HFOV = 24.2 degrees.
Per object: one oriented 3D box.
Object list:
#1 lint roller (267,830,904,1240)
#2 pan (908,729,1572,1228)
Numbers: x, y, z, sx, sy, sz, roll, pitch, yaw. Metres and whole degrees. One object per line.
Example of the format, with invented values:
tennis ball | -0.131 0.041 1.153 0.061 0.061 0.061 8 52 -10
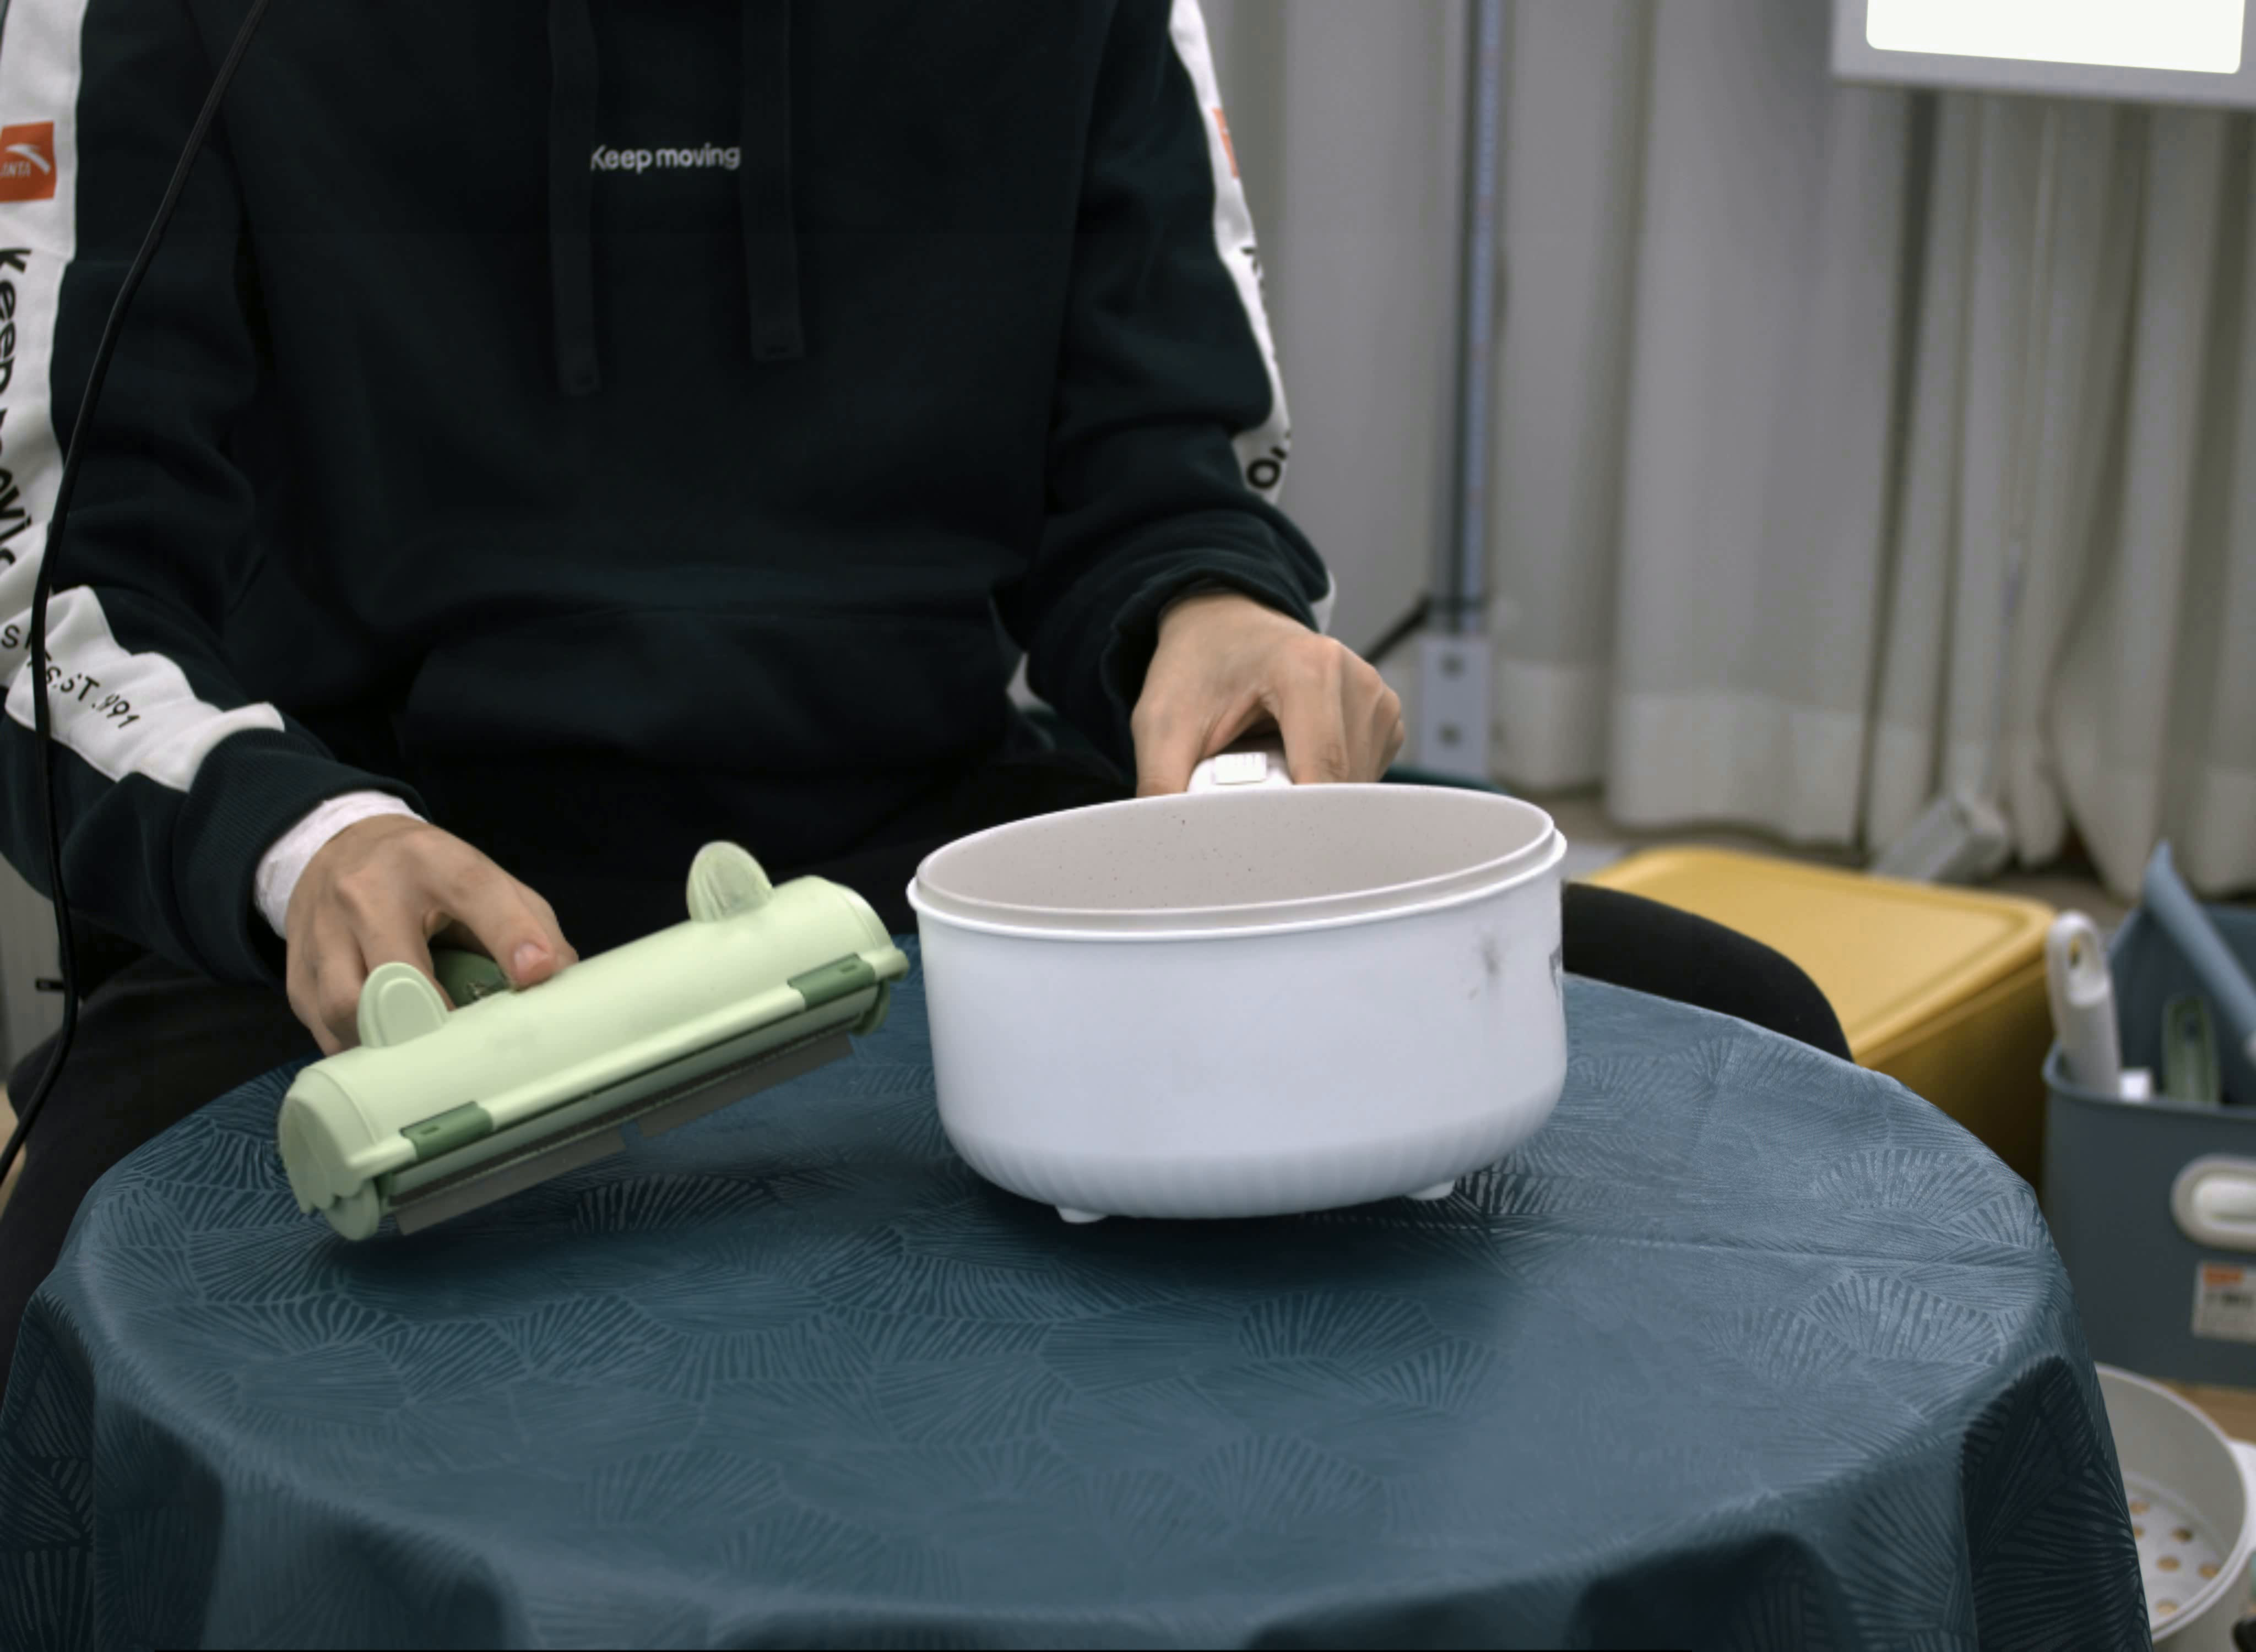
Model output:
lint roller | -0.195 0.044 1.623 0.199 0.083 0.181 -22 30 -30
pan | 0.041 0.043 1.681 0.200 0.103 0.354 -6 9 3
